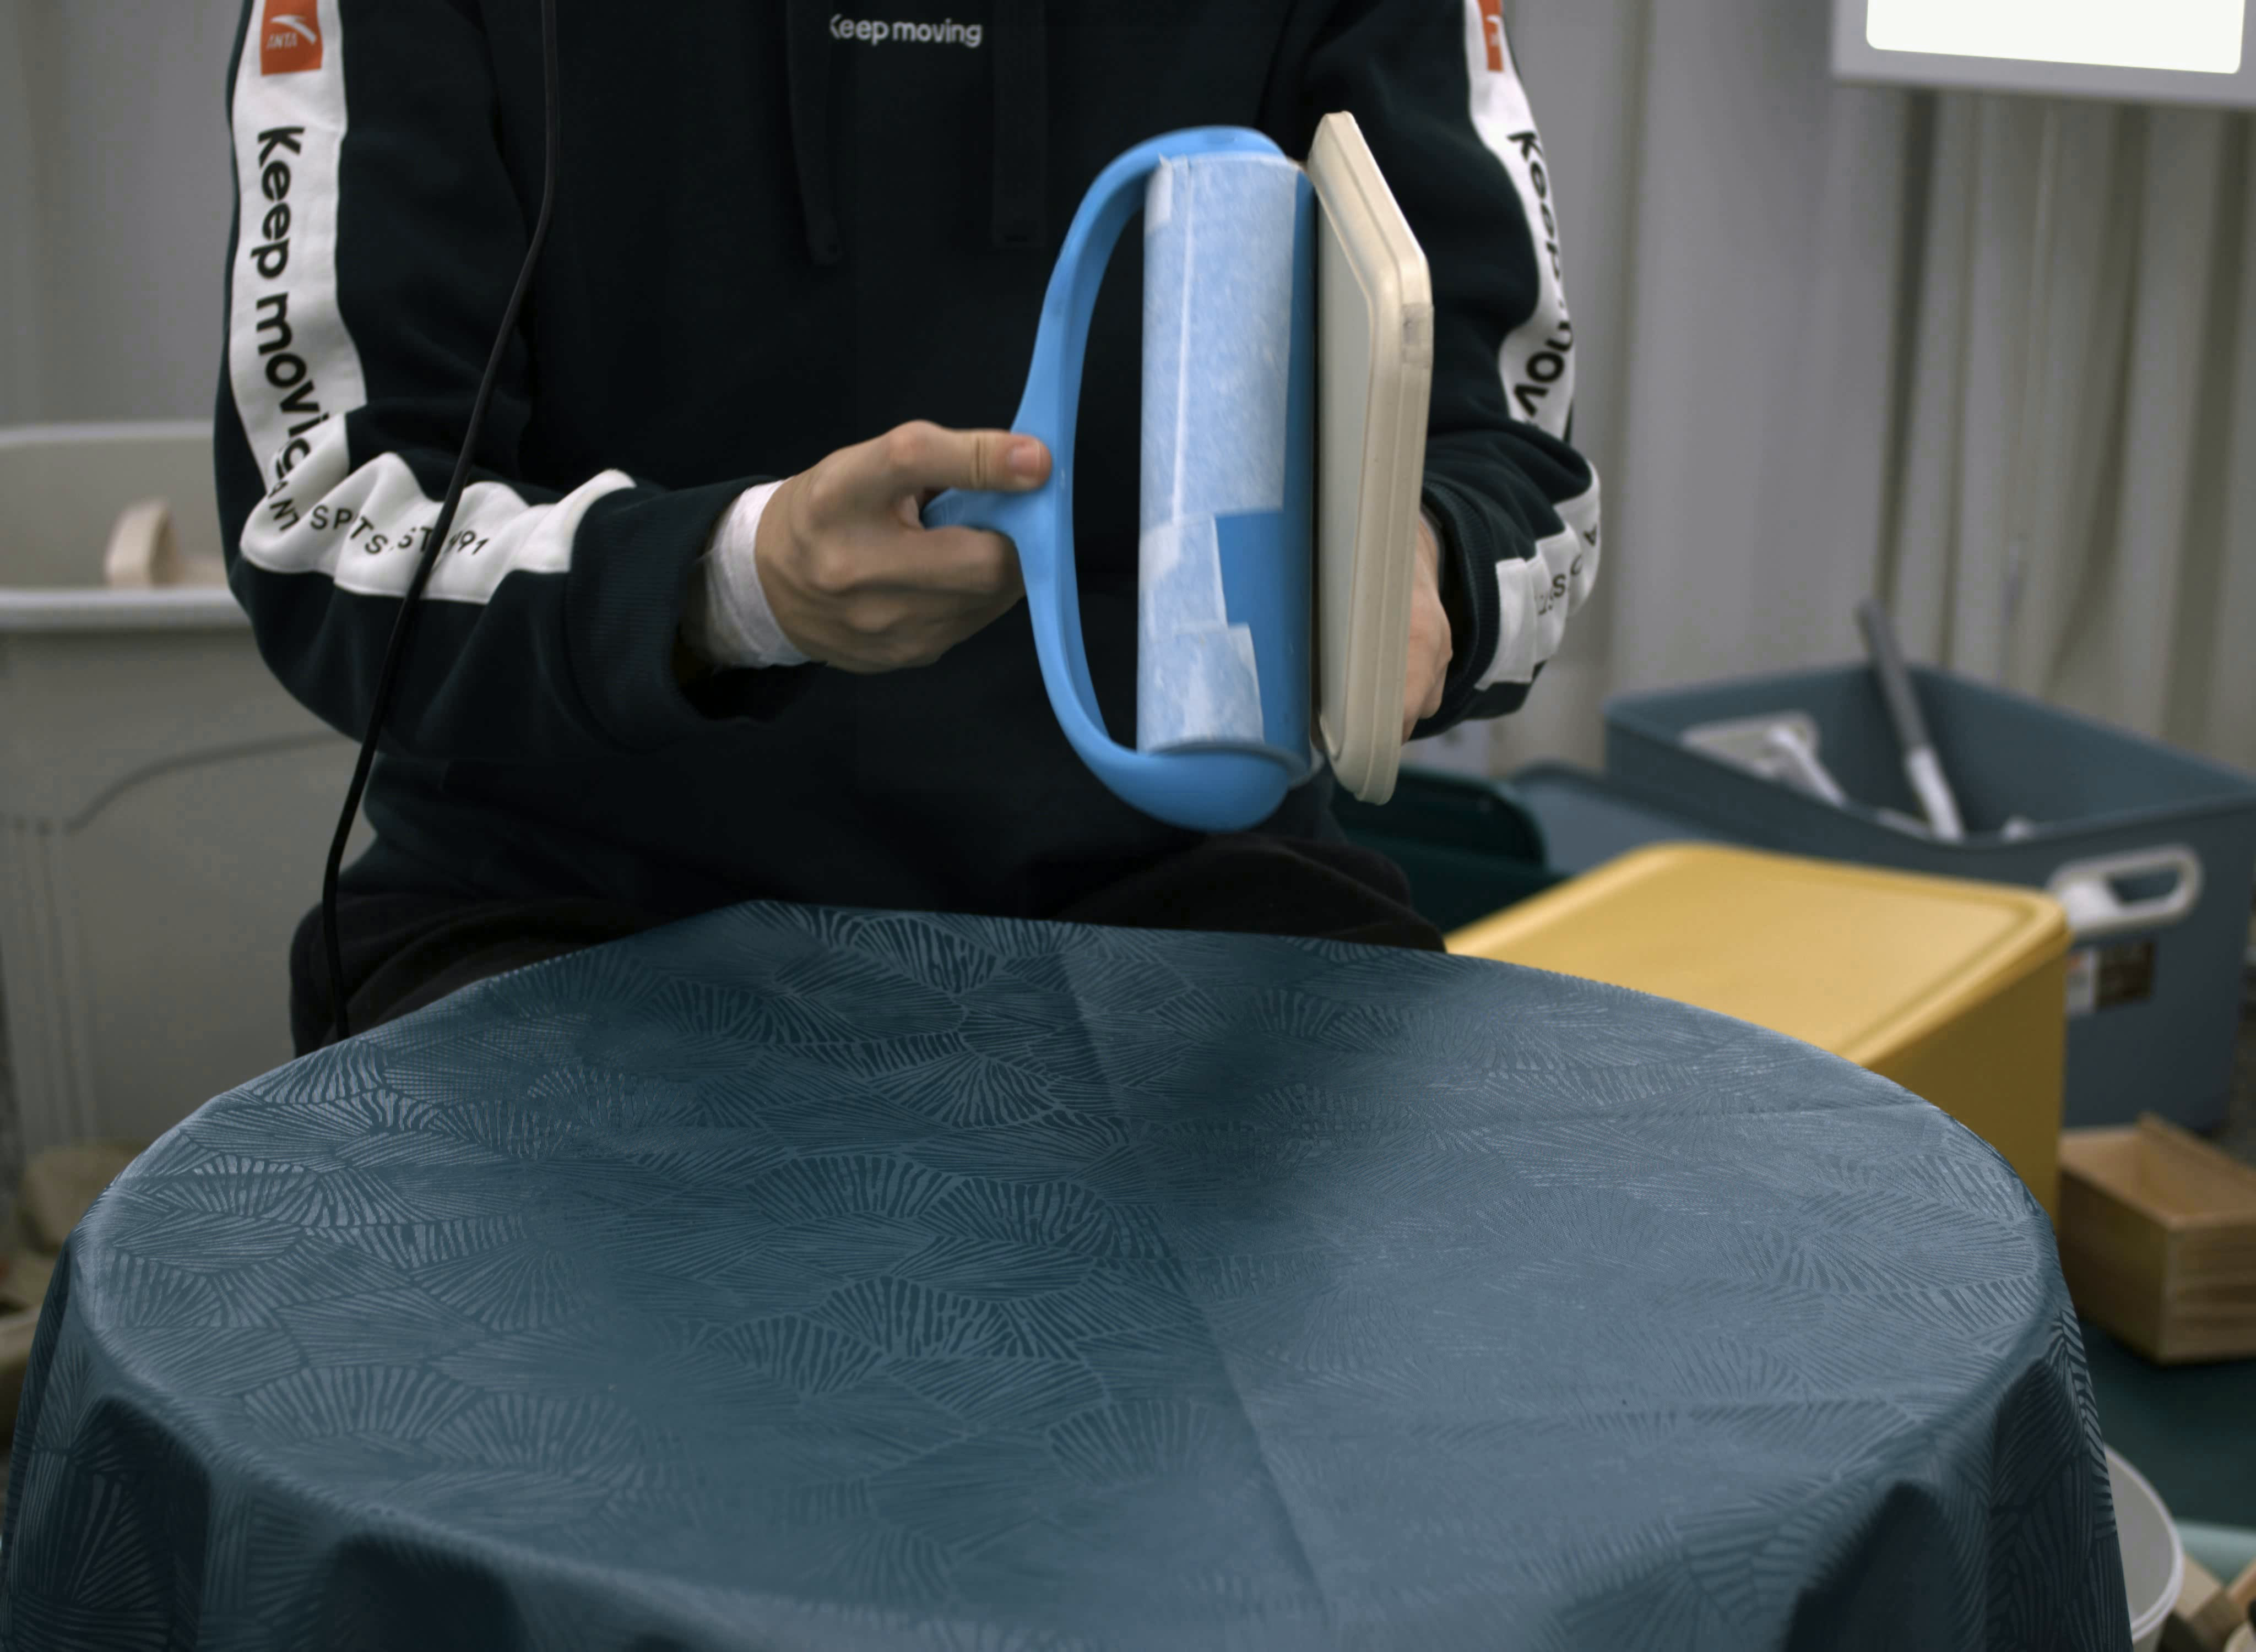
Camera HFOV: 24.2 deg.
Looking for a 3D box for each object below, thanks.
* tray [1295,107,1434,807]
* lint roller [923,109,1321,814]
[{"bbox_3d":[0.065,-0.118,1.628,0.017,0.173,0.237,2,21,-6],"label":"tray"},{"bbox_3d":[-0.014,-0.100,1.653,0.179,0.228,0.068,-16,-22,37],"label":"lint roller"}]
